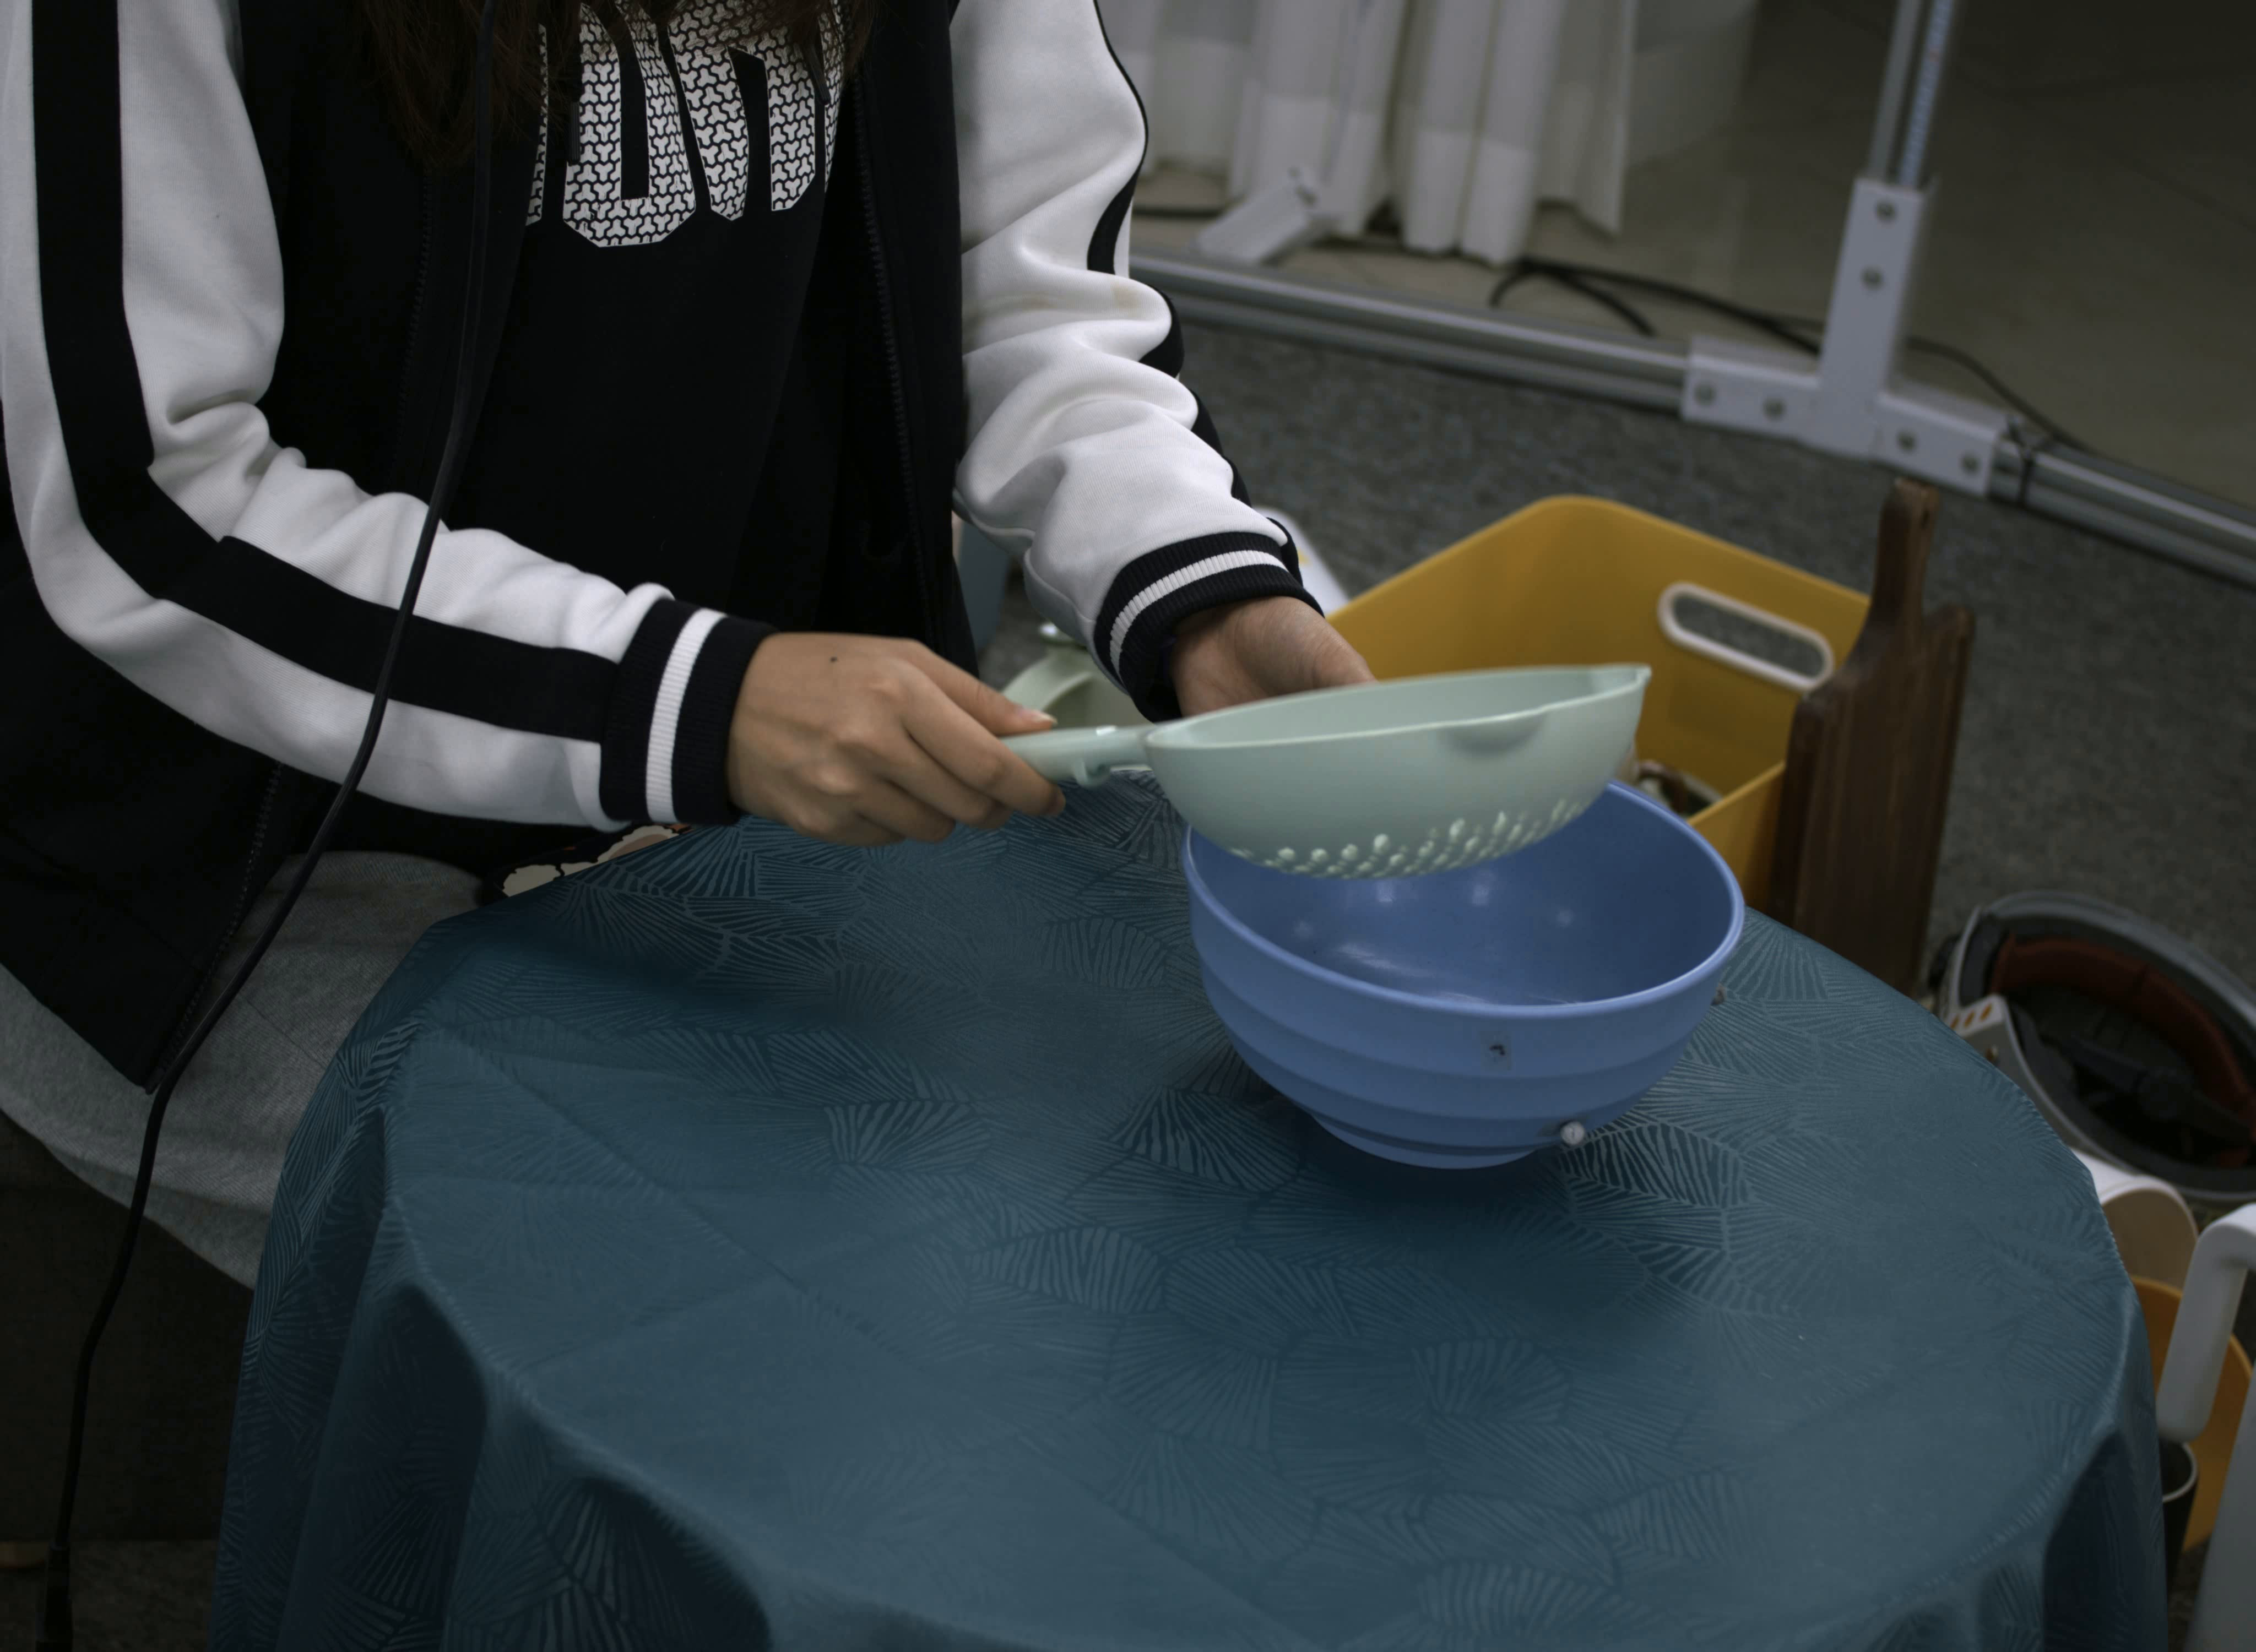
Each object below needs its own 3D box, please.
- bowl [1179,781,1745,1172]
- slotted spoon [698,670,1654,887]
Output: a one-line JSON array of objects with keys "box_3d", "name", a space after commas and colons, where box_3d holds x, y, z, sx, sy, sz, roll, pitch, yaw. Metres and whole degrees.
[{"box_3d": [0.111, 0.057, 1.855, 0.196, 0.095, 0.197, 4, 27, -3], "name": "bowl"}, {"box_3d": [0.005, -0.019, 1.840, 0.360, 0.075, 0.168, 4, 8, 27], "name": "slotted spoon"}]
